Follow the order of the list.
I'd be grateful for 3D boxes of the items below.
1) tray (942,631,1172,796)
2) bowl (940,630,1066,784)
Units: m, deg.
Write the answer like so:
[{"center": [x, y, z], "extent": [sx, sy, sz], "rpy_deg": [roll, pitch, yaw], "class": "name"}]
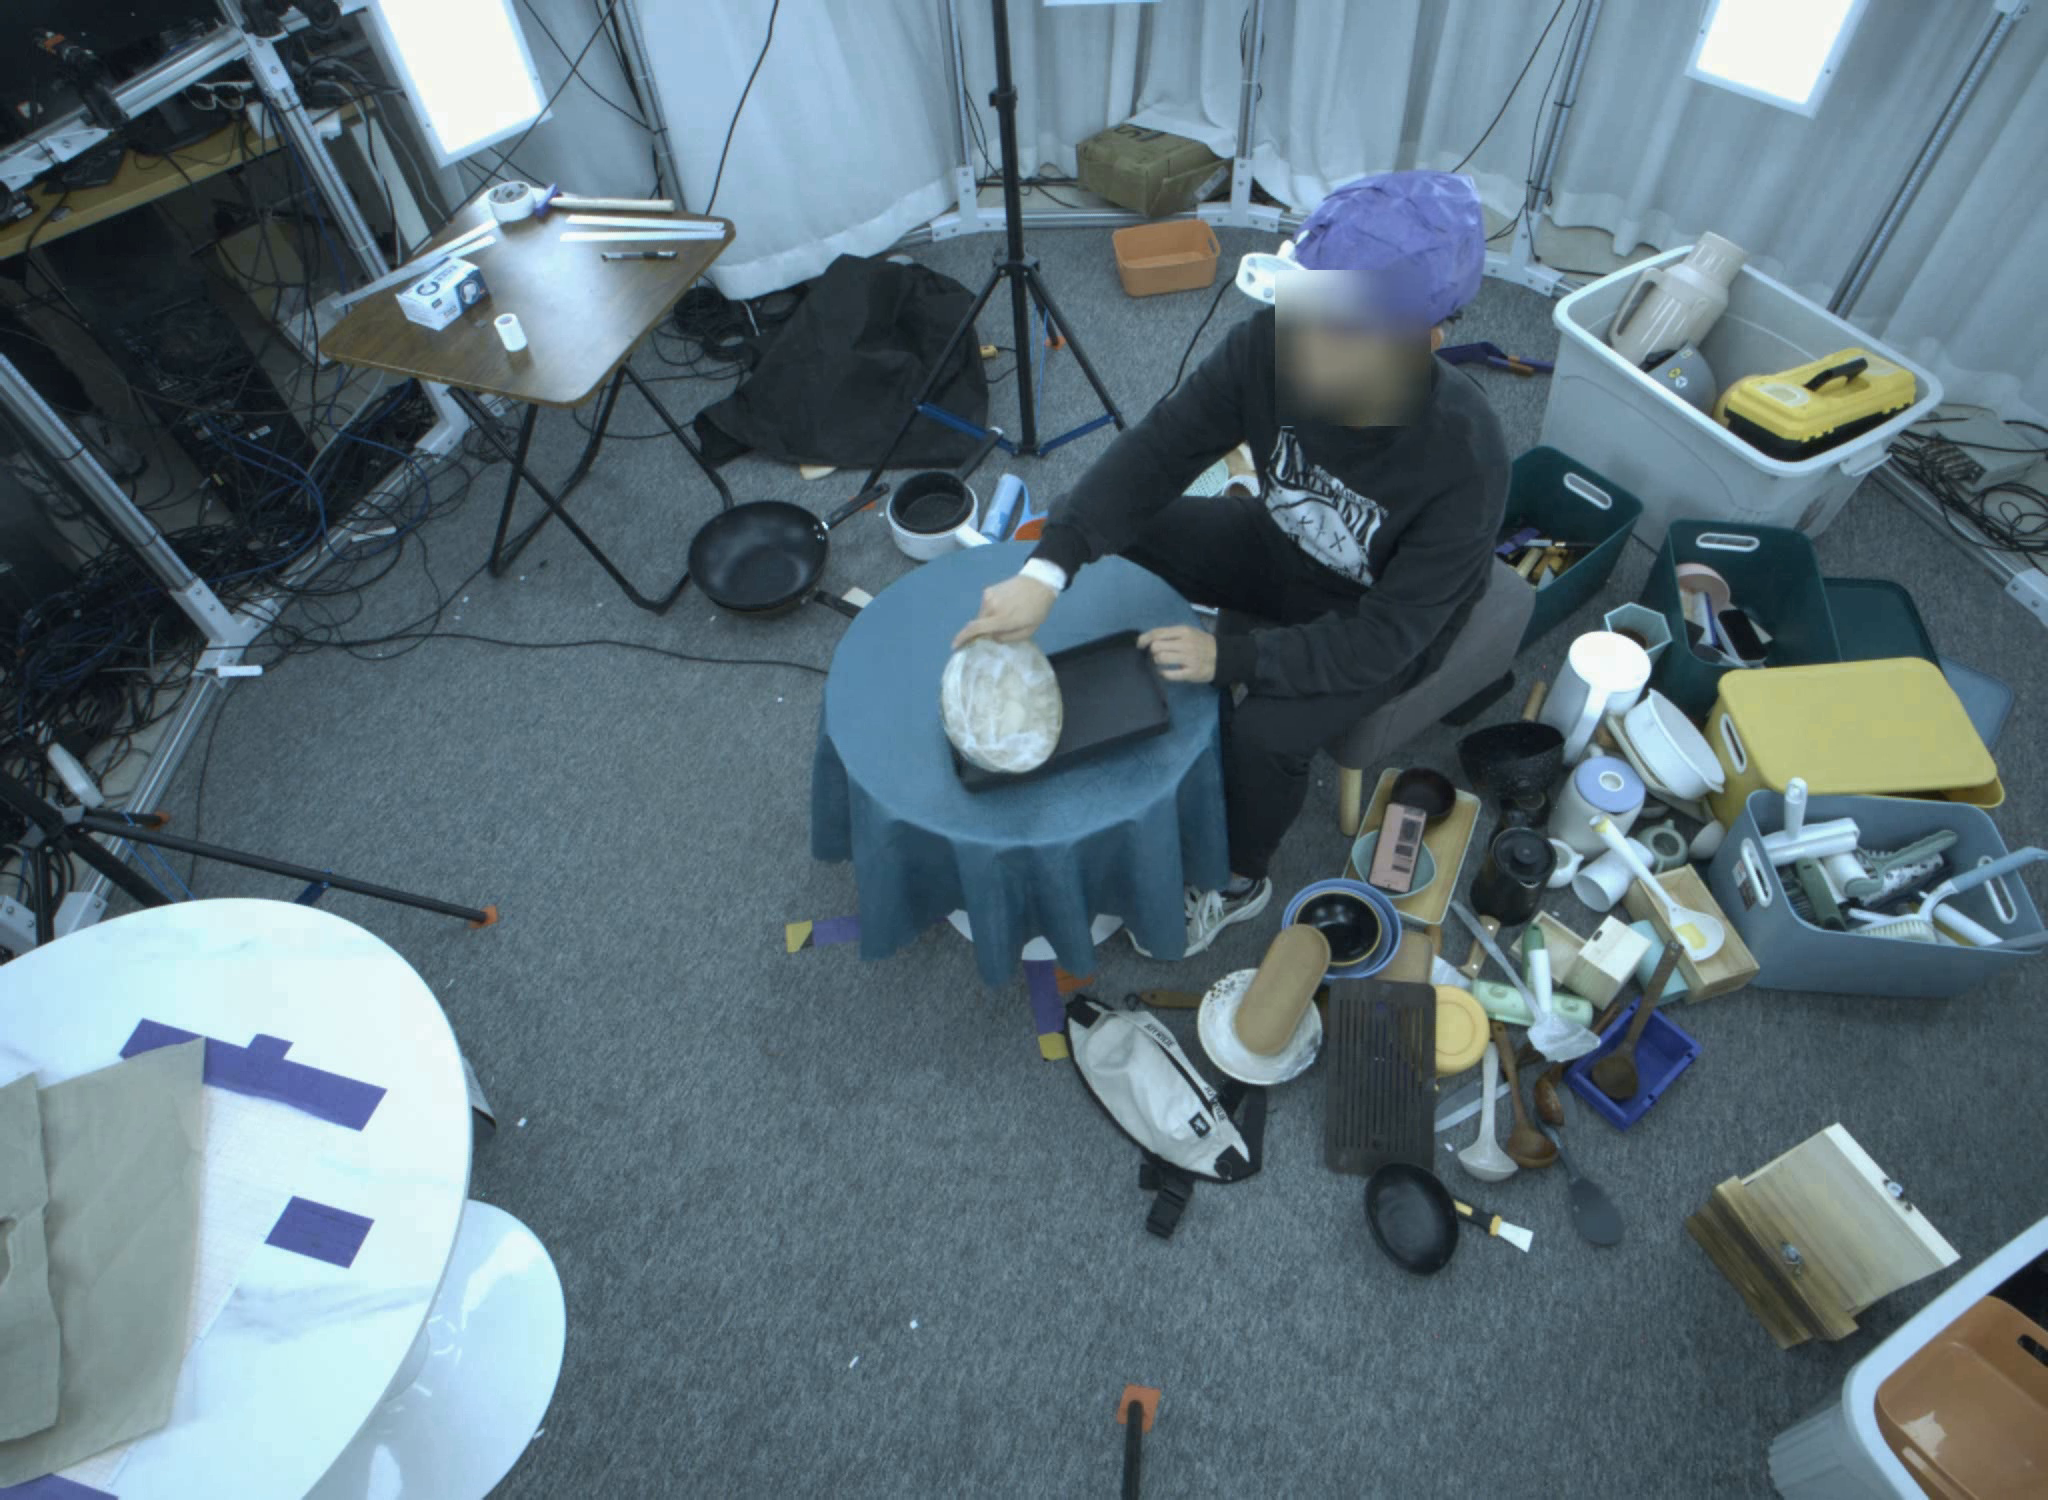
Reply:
[{"center": [0.045, -0.053, 1.784], "extent": [0.317, 0.037, 0.181], "rpy_deg": [-16, 57, 4], "class": "tray"}, {"center": [-0.043, -0.054, 1.697], "extent": [0.093, 0.219, 0.214], "rpy_deg": [-10, 46, 42], "class": "bowl"}]
